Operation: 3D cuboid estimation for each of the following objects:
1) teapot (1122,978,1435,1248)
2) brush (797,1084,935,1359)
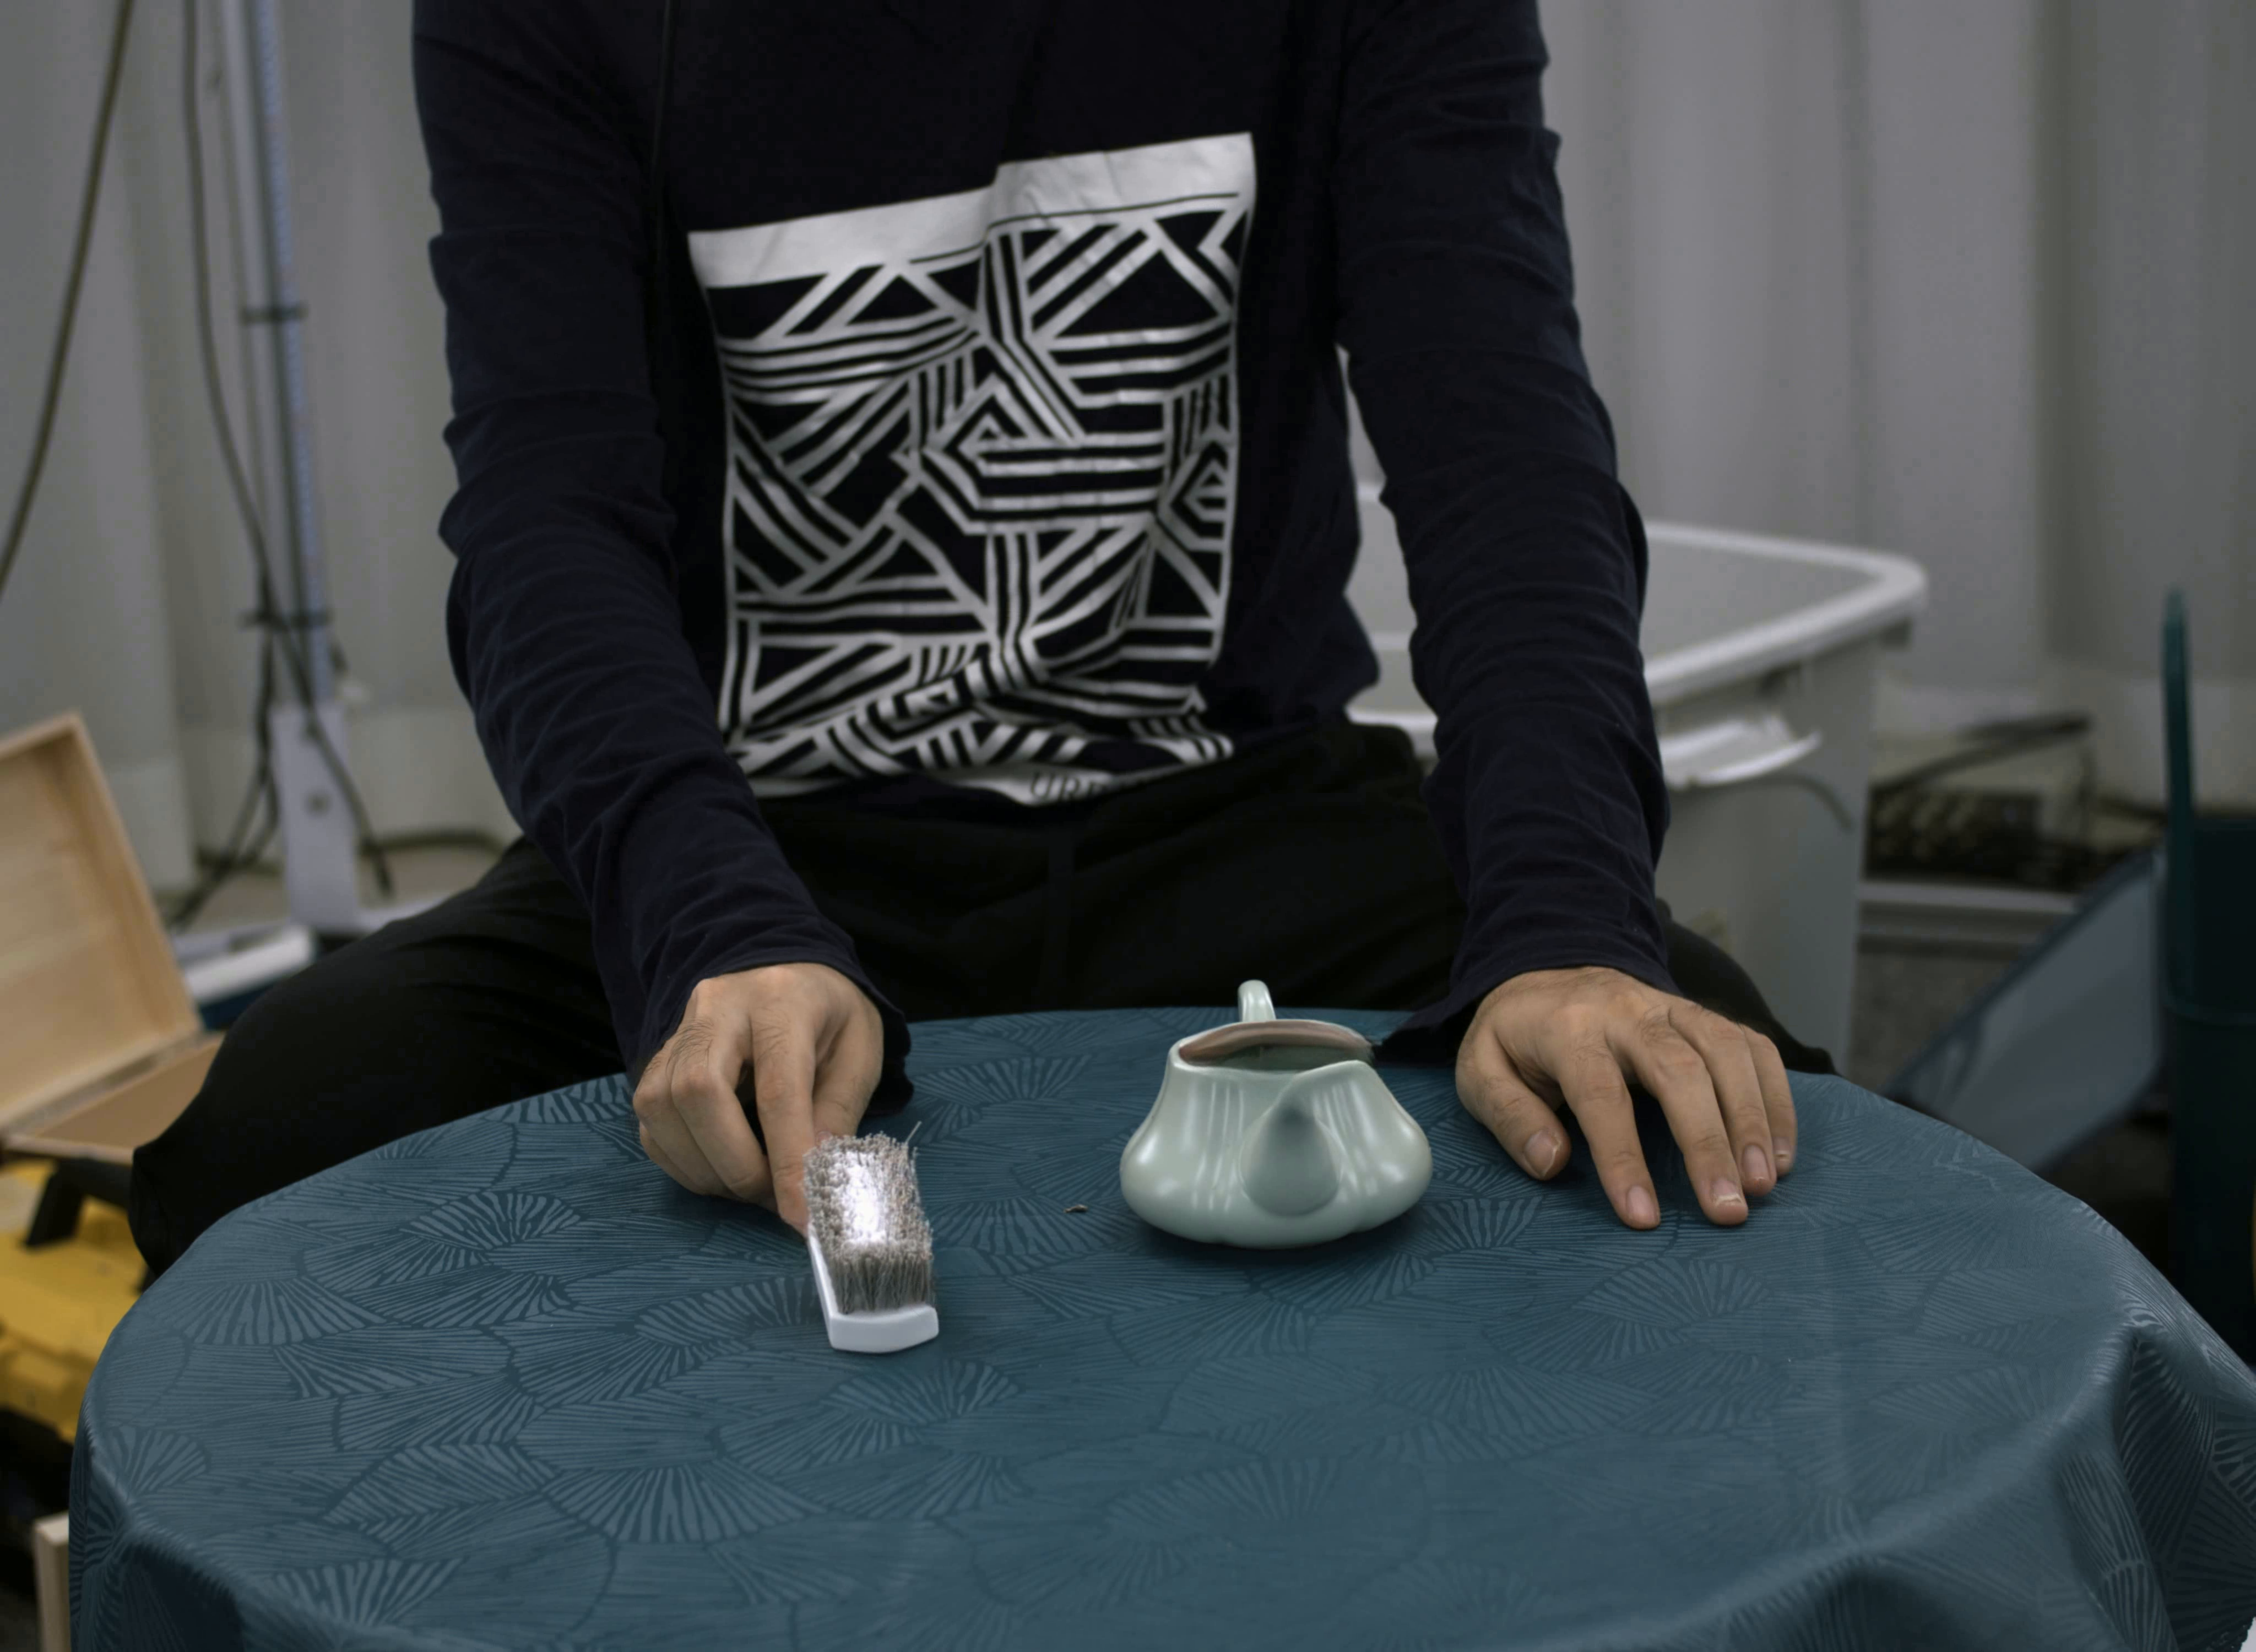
[{"bbox_3d":[0.044,0.091,1.678,0.096,0.061,0.138,-7,16,-5],"label":"teapot"},{"bbox_3d":[-0.087,0.102,1.686,0.034,0.050,0.245,-11,16,-4],"label":"brush"}]
